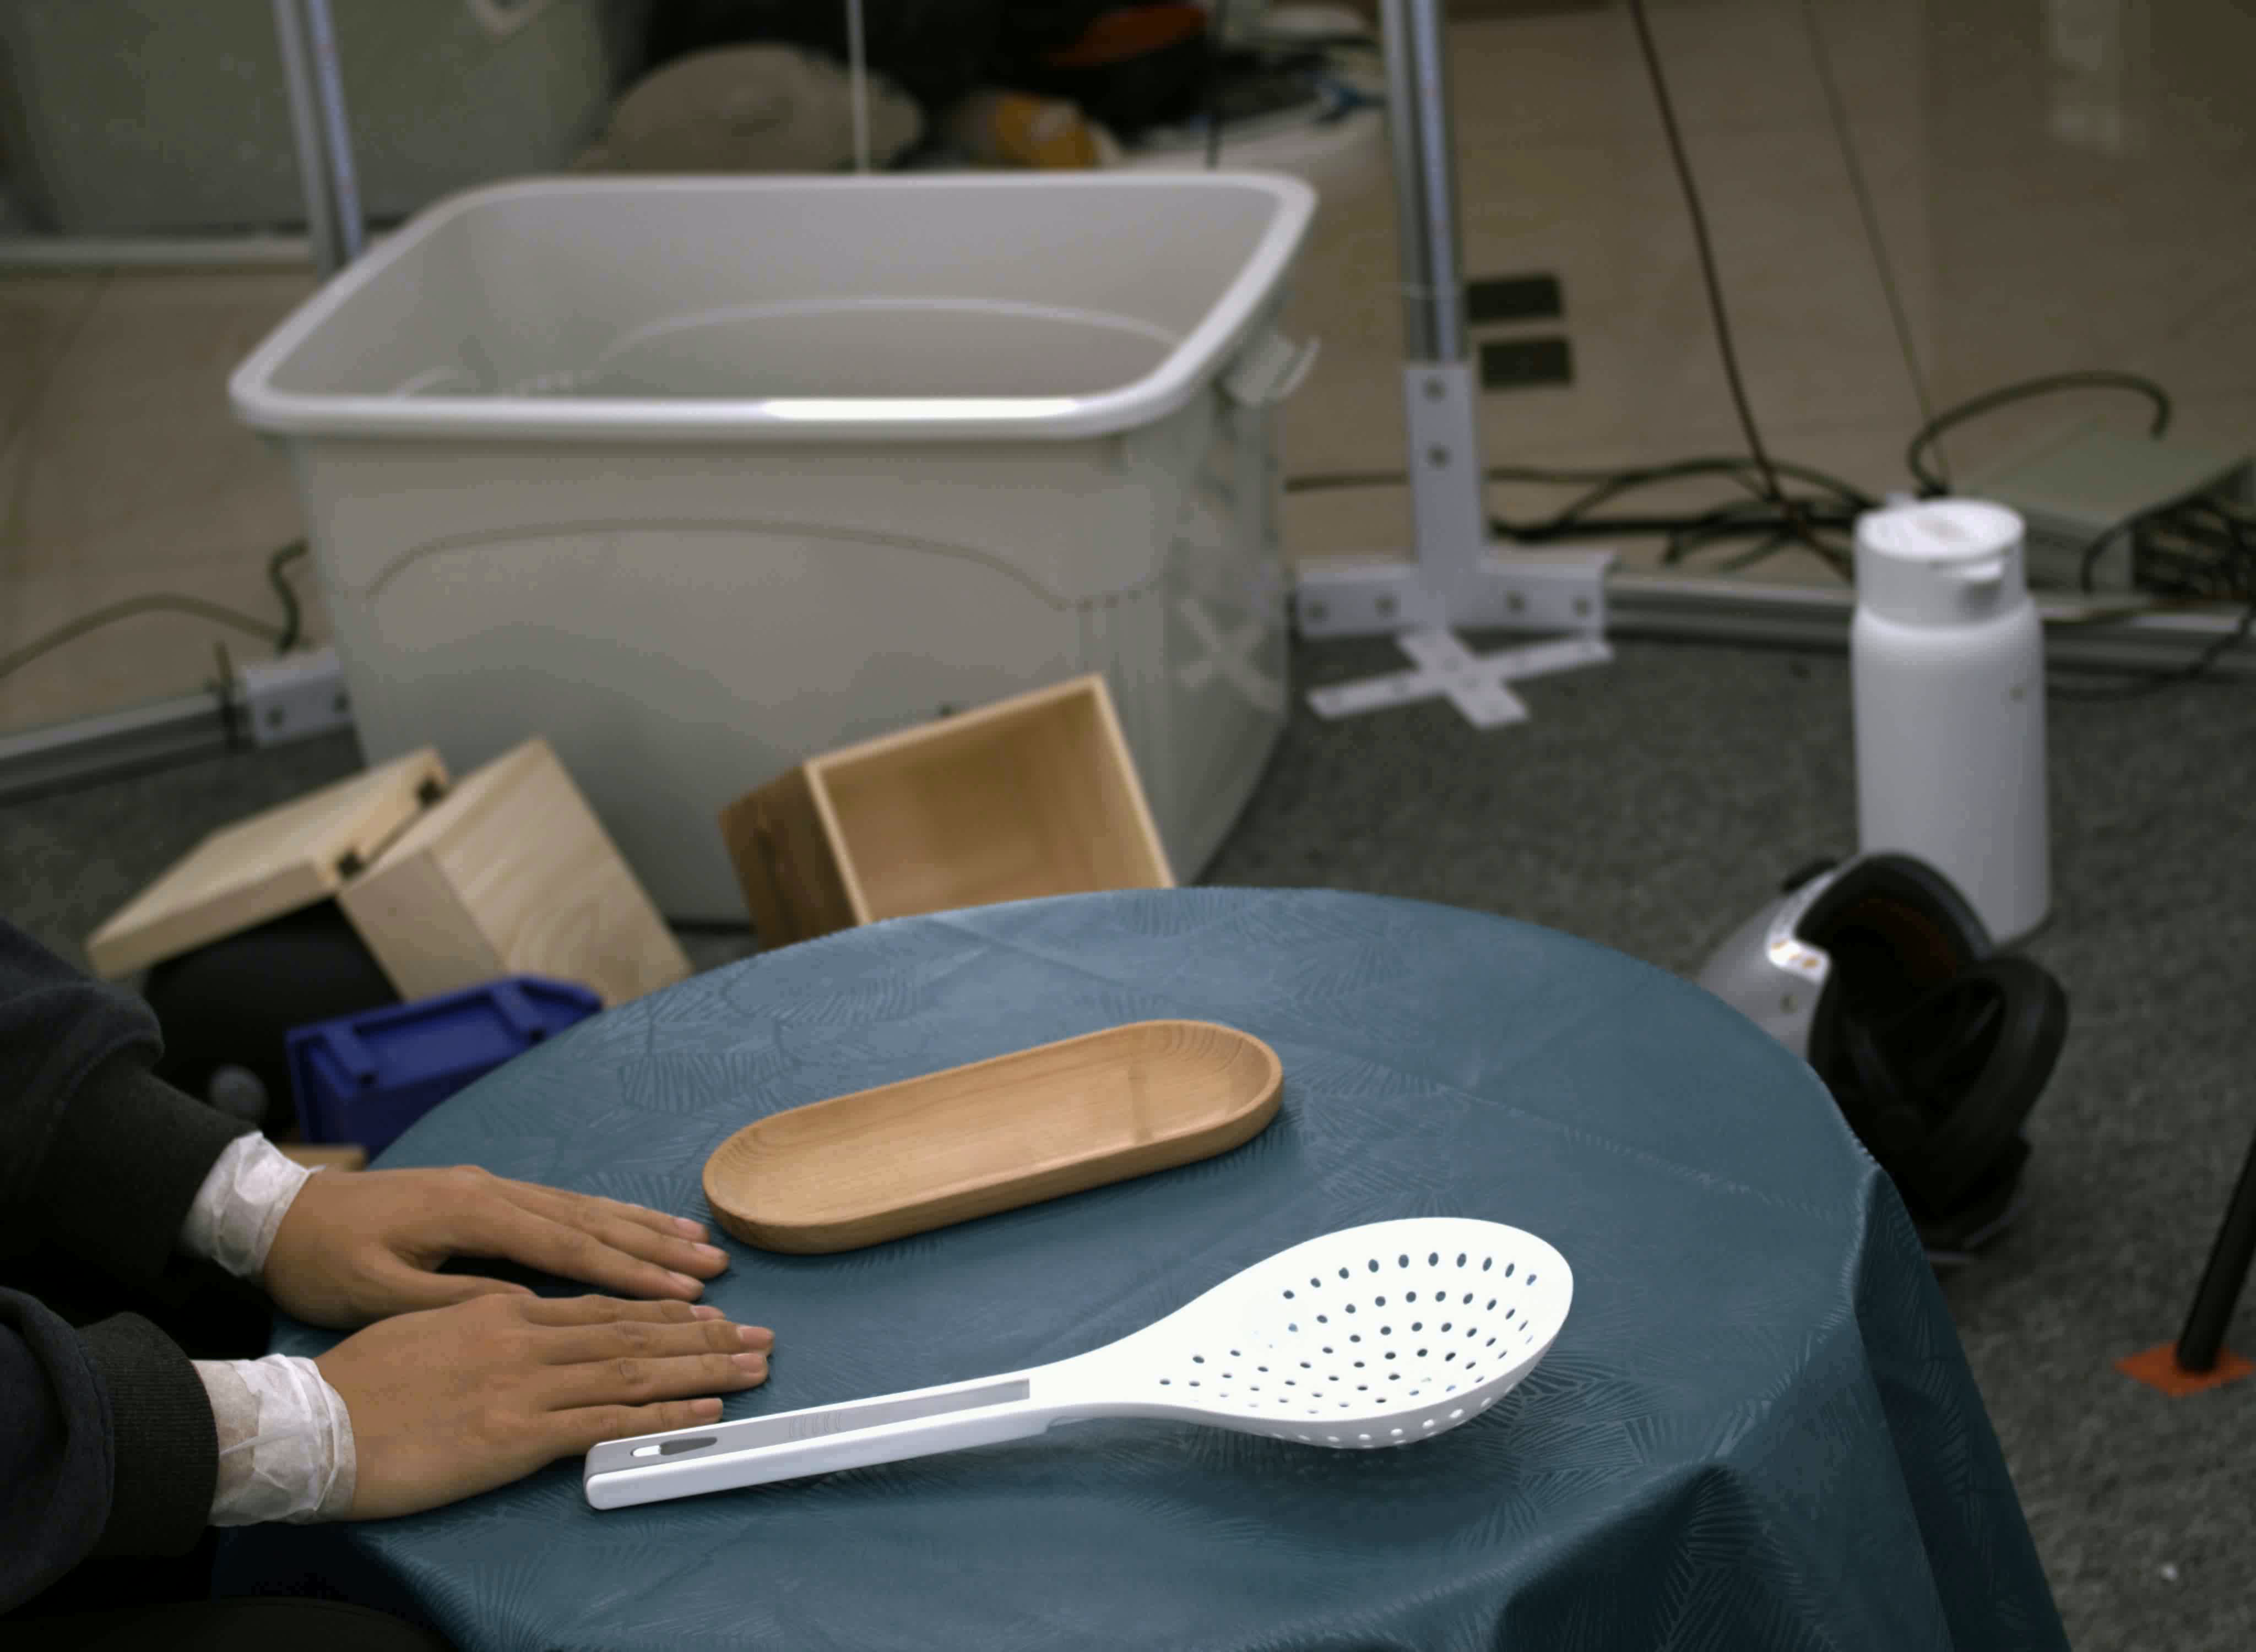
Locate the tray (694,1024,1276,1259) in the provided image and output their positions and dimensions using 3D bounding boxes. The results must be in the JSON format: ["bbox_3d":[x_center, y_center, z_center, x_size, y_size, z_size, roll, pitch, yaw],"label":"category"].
[{"bbox_3d":[-0.054,0.121,2.179,0.230,0.020,0.100,-15,25,-15],"label":"tray"}]

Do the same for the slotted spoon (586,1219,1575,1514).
[{"bbox_3d":[-0.017,0.197,1.972,0.349,0.046,0.134,-7,23,2],"label":"slotted spoon"}]
